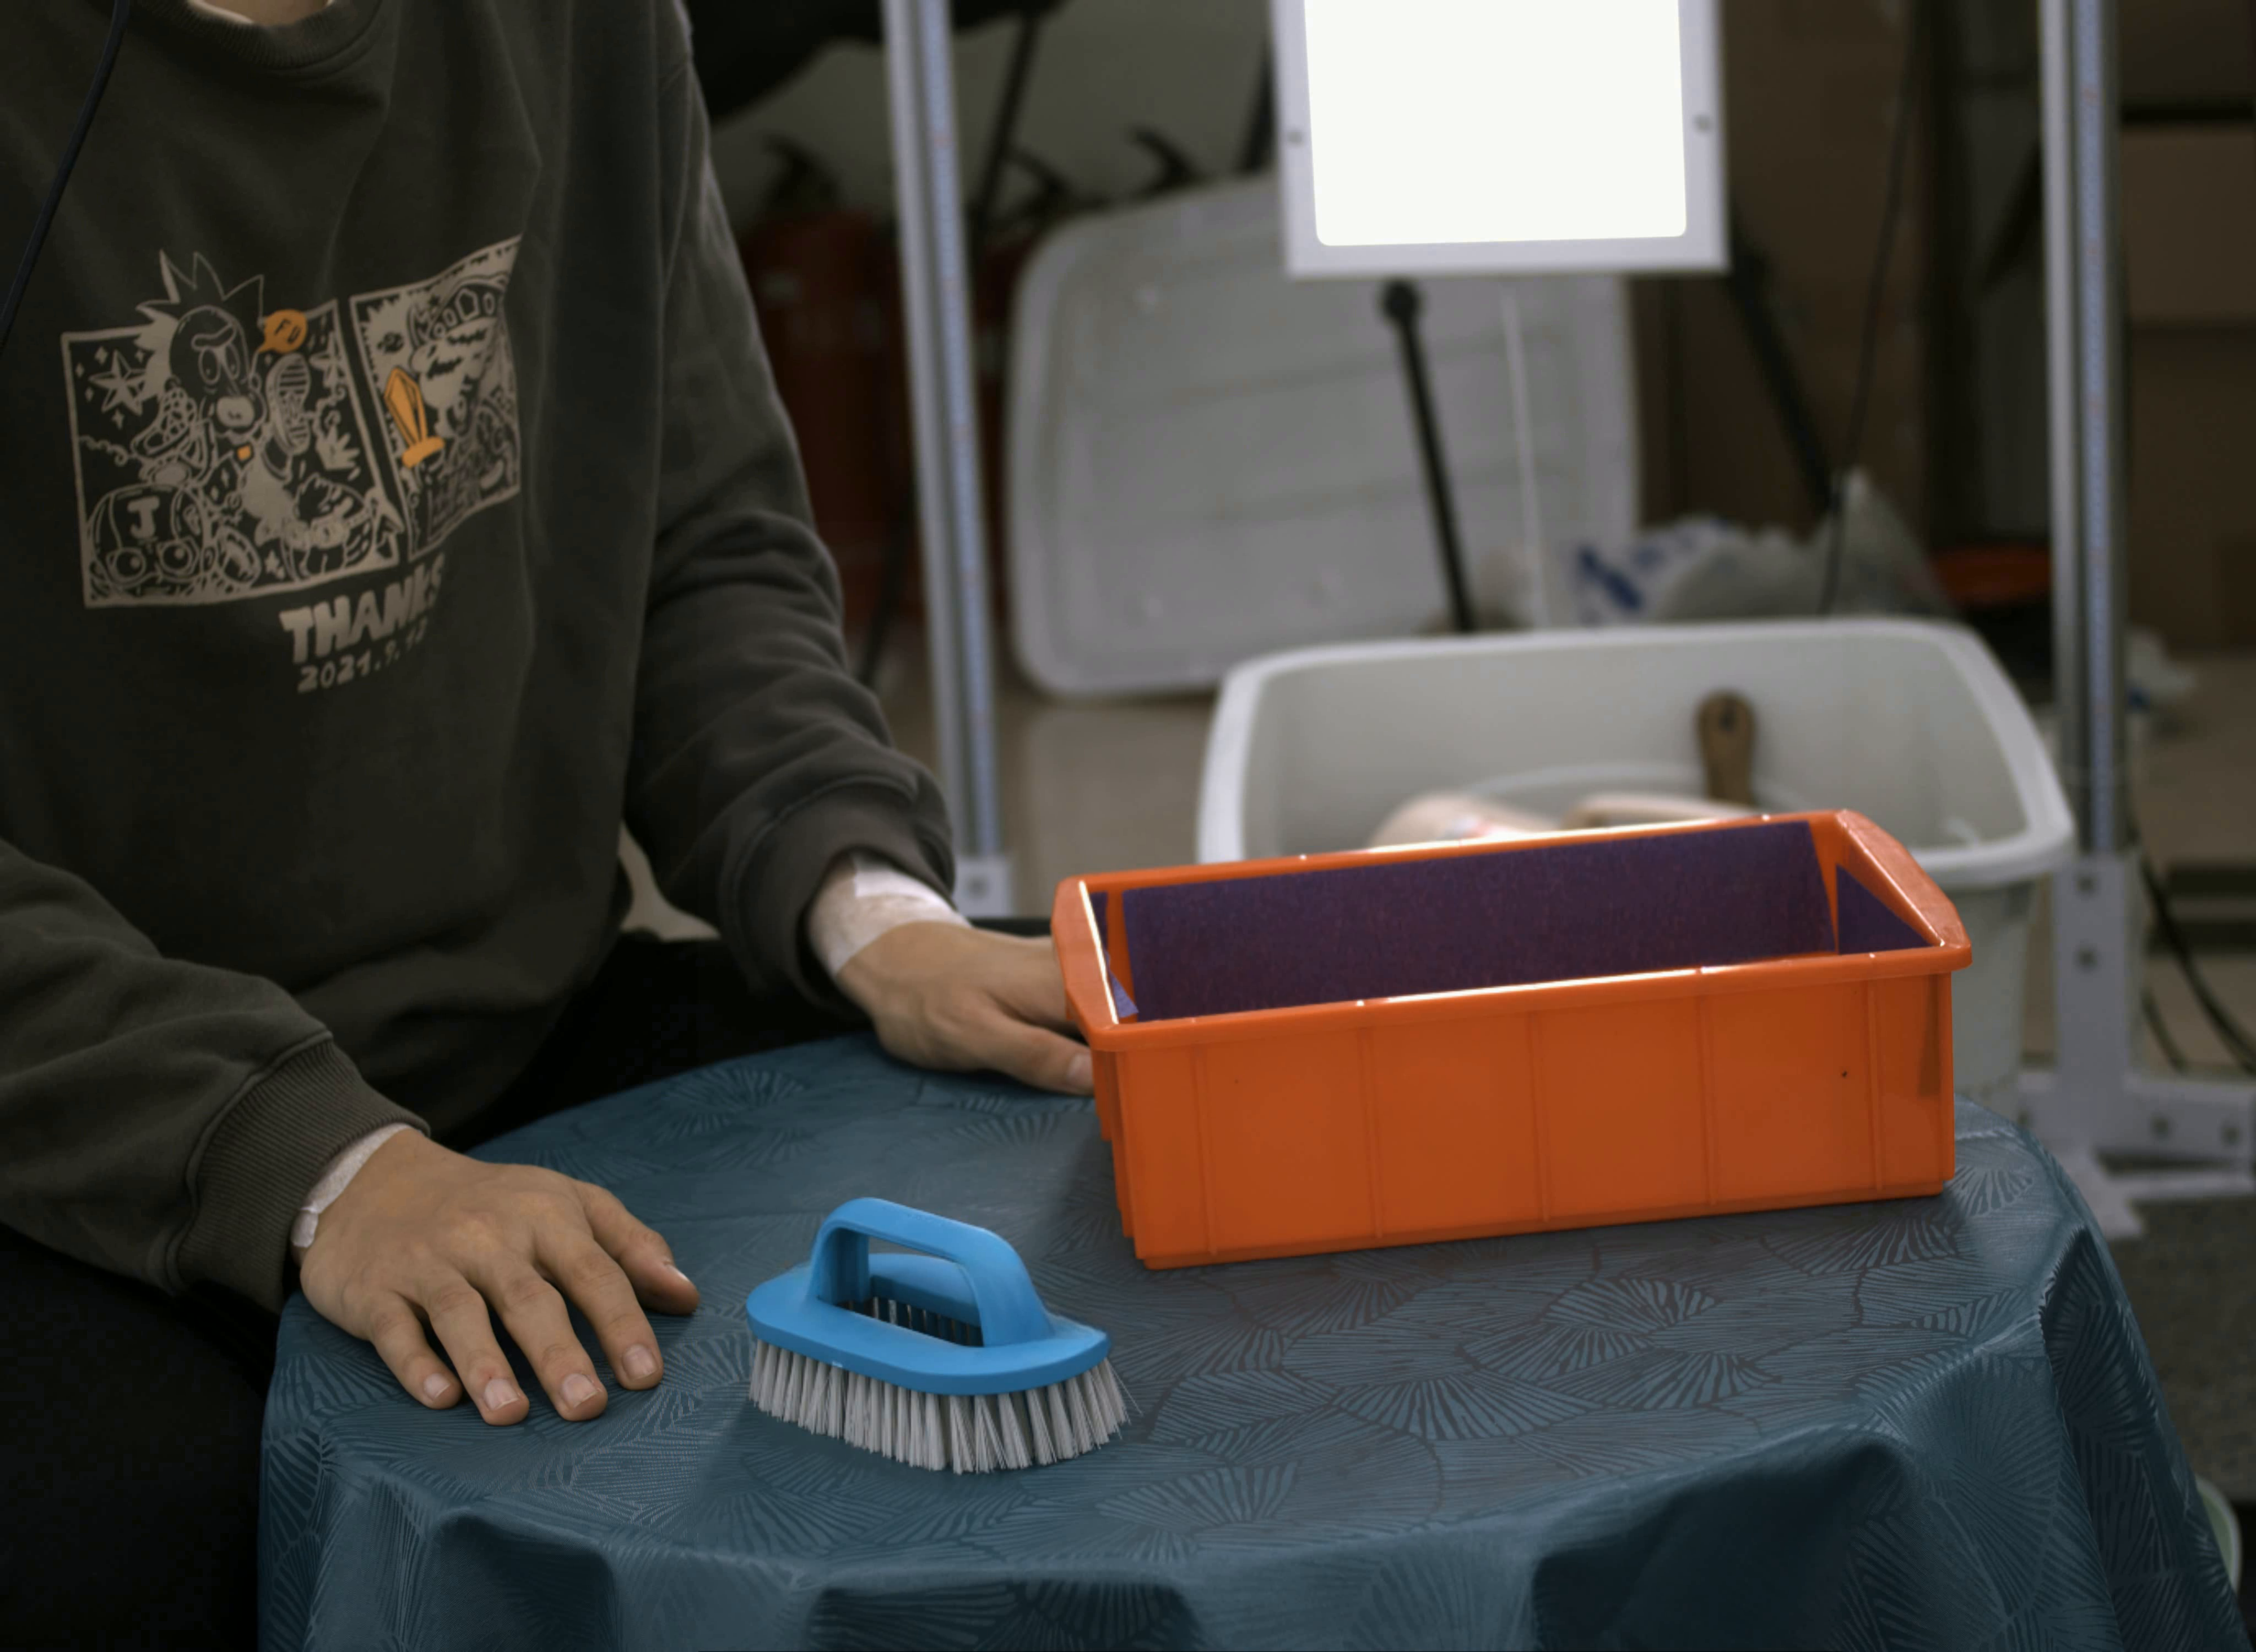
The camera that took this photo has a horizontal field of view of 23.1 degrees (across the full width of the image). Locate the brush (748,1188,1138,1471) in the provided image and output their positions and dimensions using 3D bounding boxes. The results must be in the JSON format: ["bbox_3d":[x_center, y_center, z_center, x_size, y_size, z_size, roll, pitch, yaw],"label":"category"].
[{"bbox_3d":[-0.061,0.147,1.698,0.082,0.064,0.145,-21,19,-34],"label":"brush"}]

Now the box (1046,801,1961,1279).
[{"bbox_3d":[0.127,0.072,1.892,0.303,0.097,0.206,-5,14,0],"label":"box"}]
